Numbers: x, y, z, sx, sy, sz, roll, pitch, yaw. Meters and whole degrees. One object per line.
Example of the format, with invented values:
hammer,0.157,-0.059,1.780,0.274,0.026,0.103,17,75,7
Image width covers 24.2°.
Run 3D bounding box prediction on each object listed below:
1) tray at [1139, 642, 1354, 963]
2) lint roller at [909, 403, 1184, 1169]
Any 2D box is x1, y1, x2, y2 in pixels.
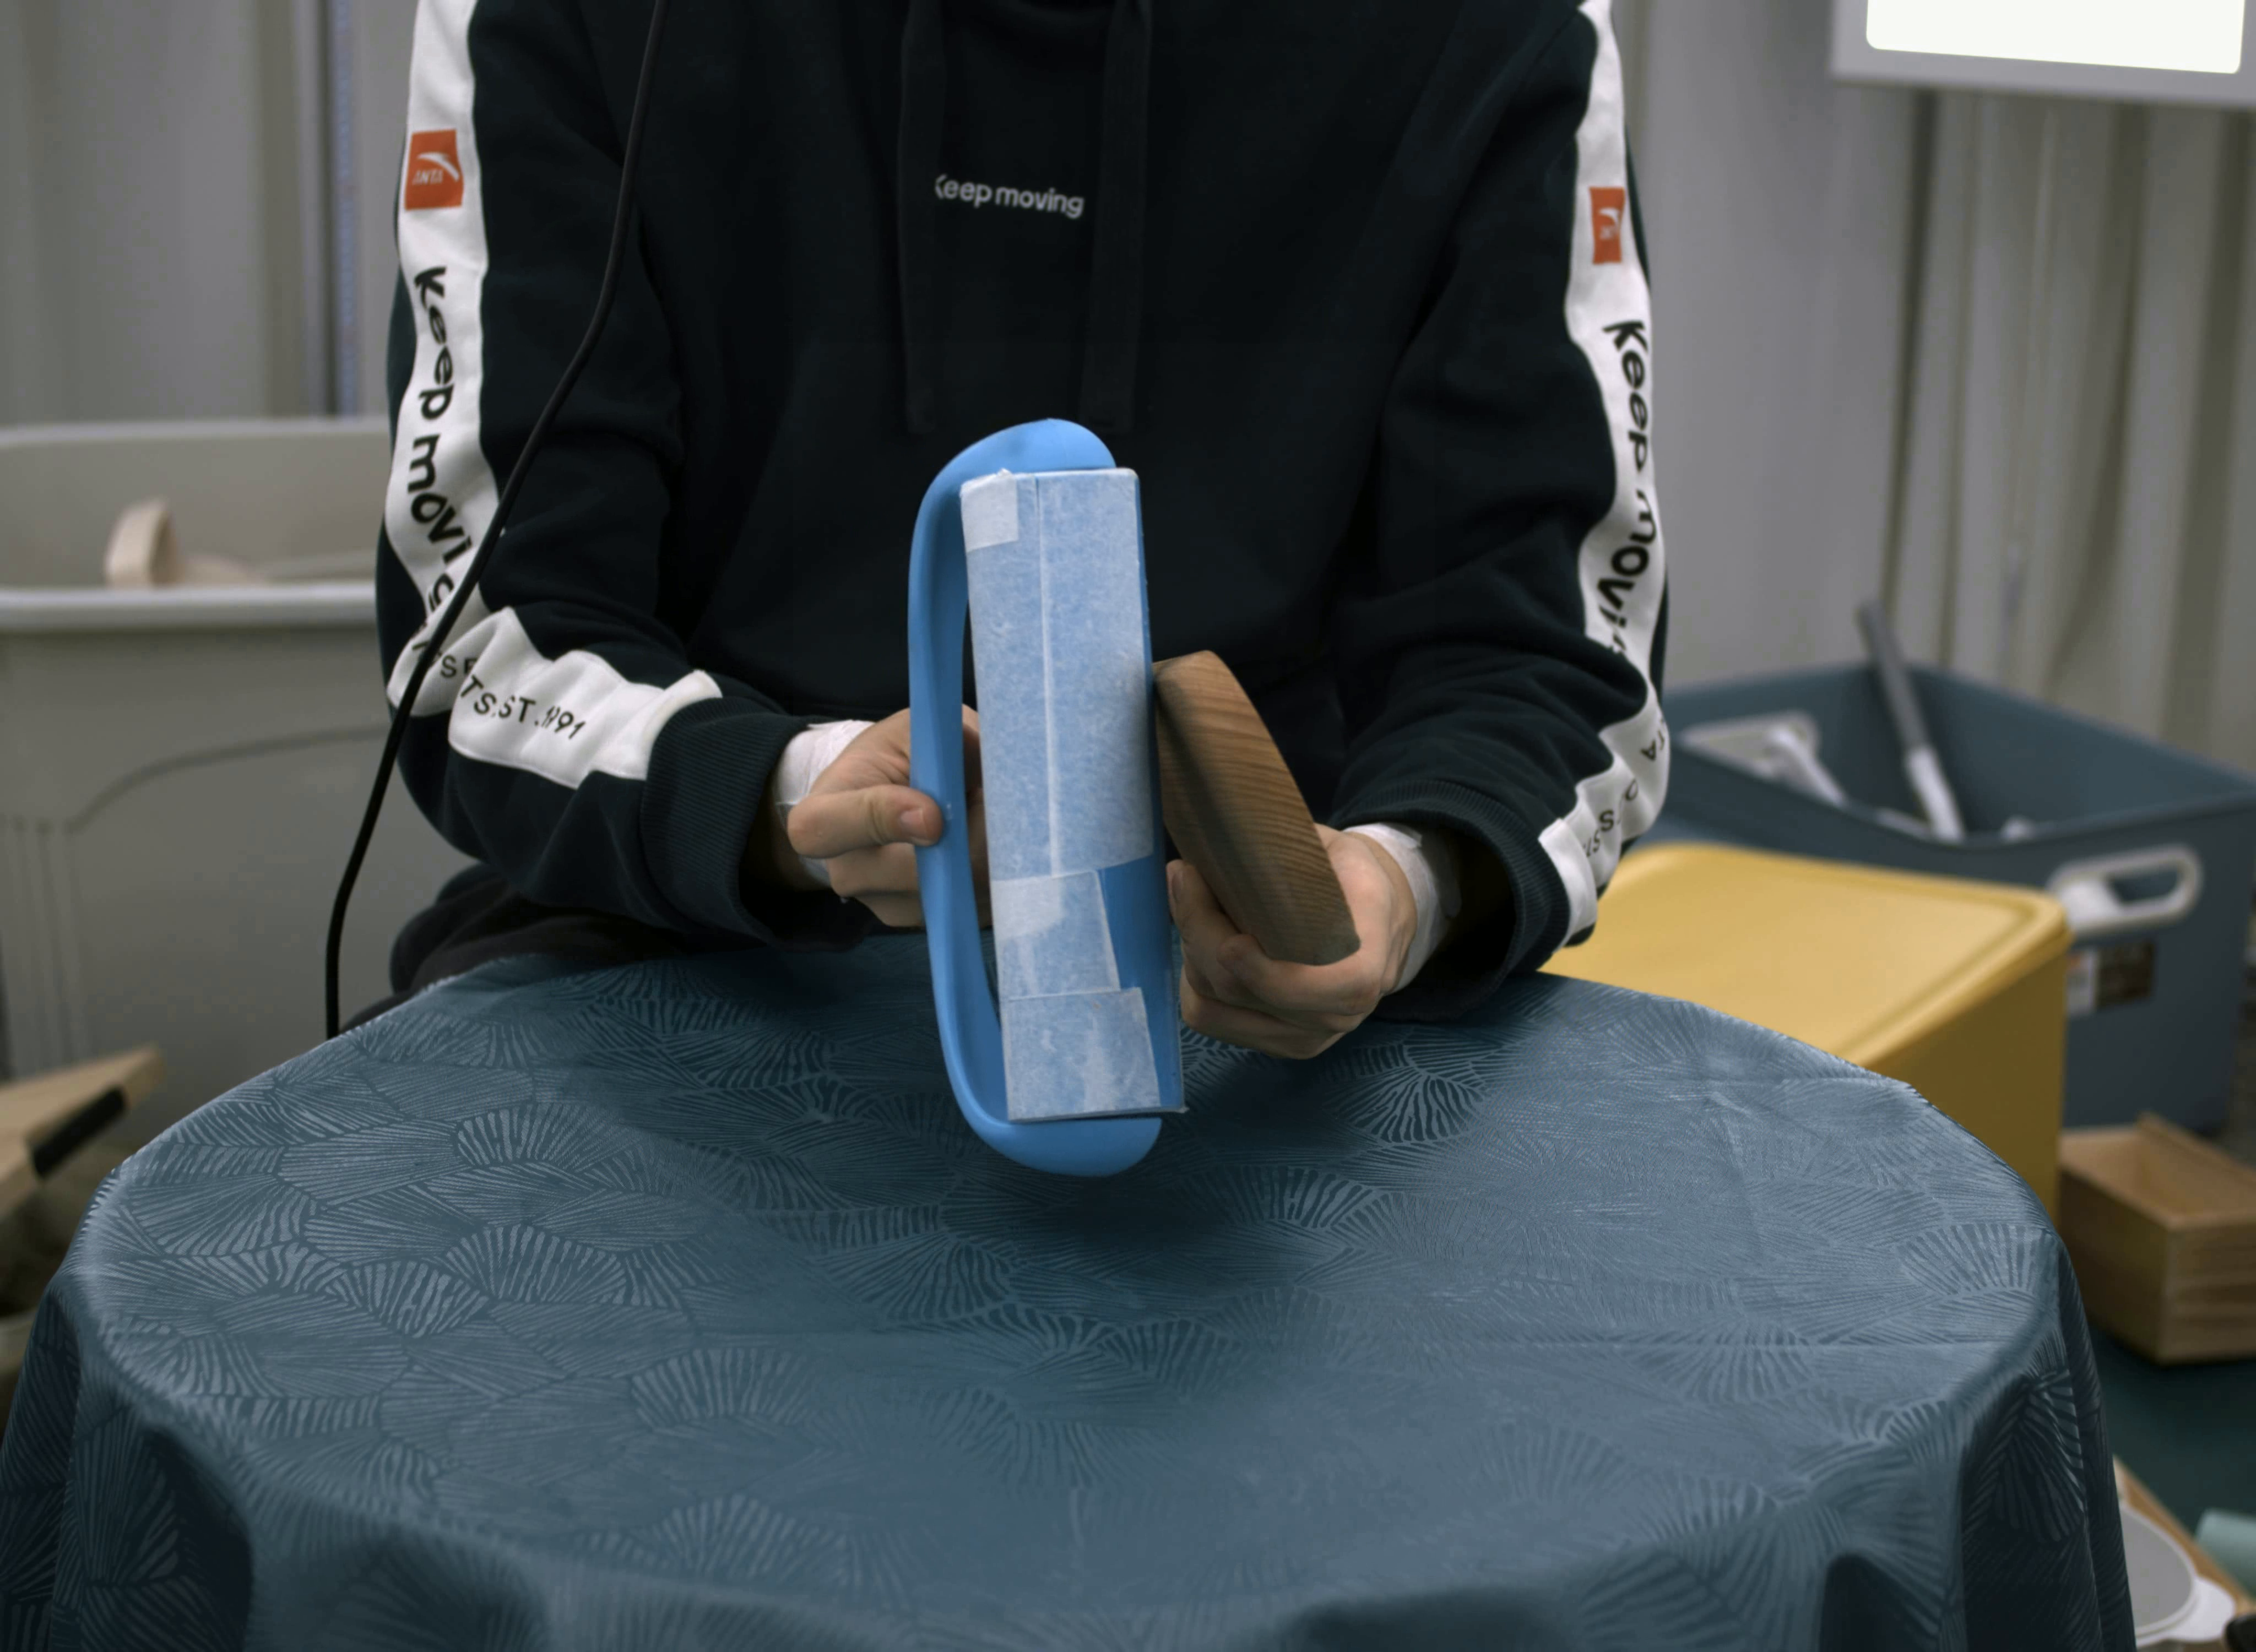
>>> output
tray,0.028,-0.006,1.609,0.020,0.102,0.230,-25,4,-8
lint roller,-0.036,-0.004,1.627,0.068,0.229,0.179,-5,-5,-18
